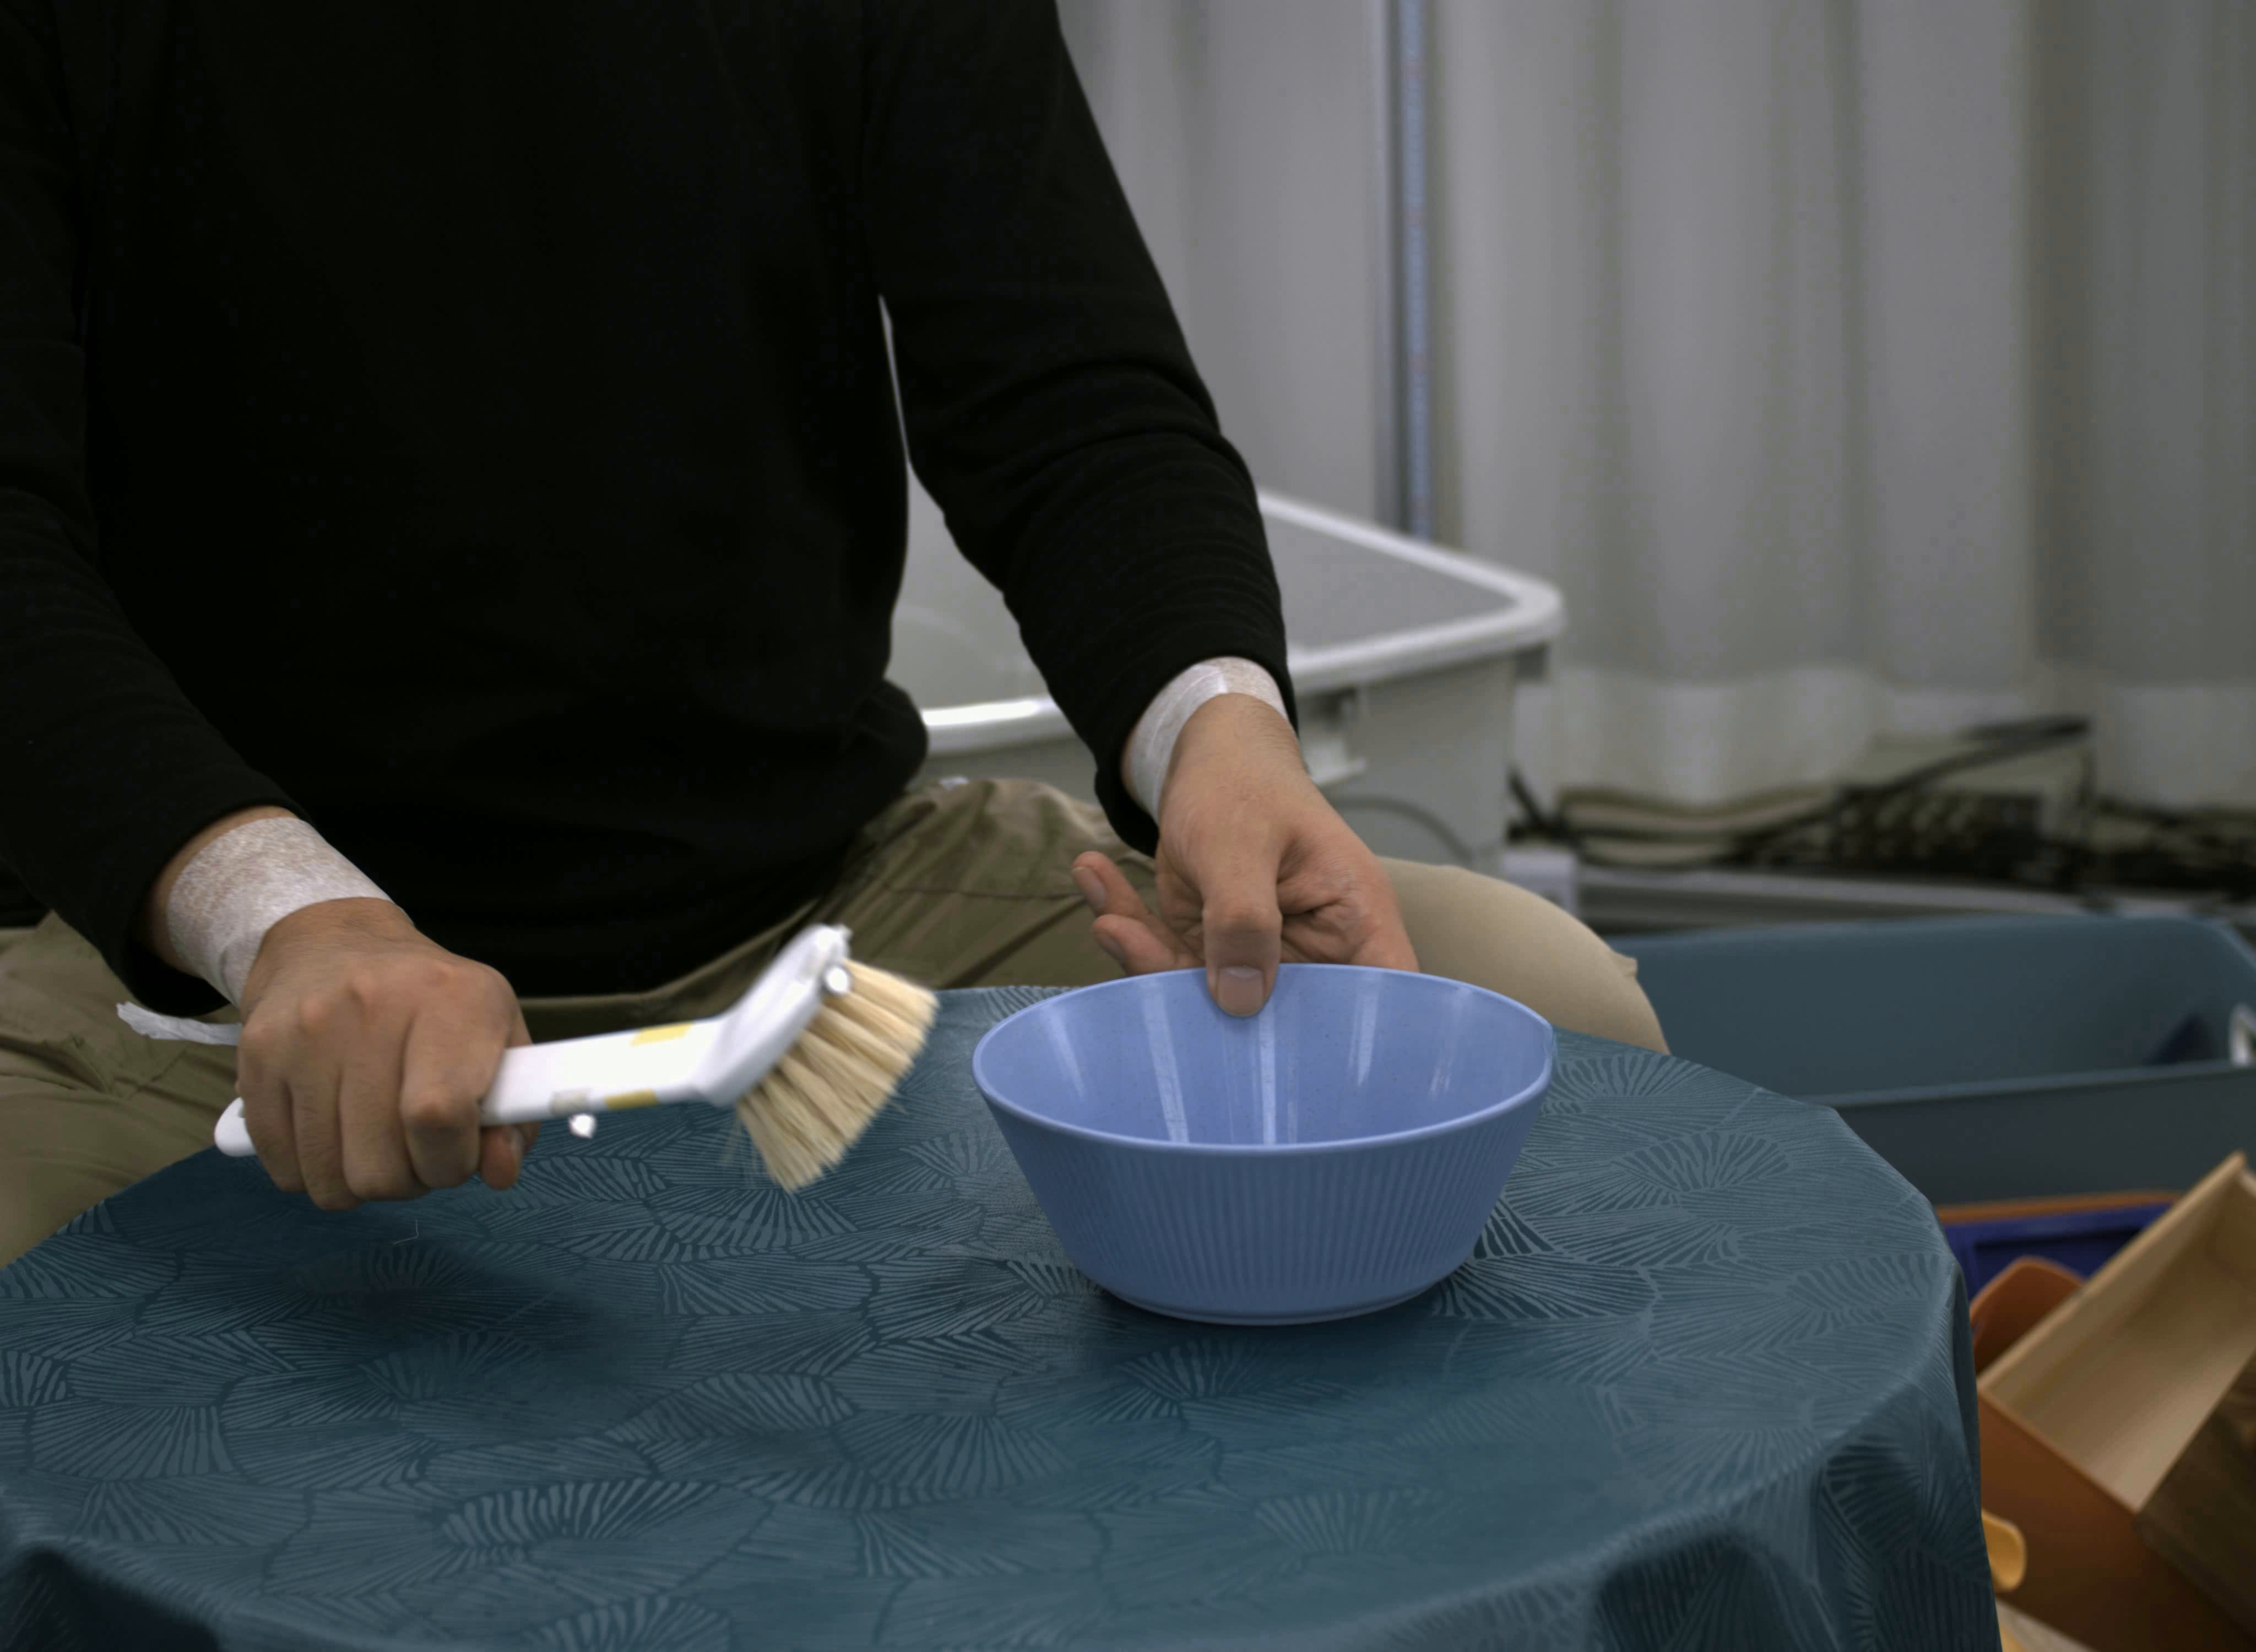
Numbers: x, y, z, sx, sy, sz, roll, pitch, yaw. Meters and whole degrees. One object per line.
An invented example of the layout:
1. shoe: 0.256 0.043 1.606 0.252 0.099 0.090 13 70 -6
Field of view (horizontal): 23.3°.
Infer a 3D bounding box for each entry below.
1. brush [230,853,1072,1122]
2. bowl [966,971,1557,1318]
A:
1. brush: -0.140 0.069 1.627 0.266 0.056 0.069 -16 19 17
2. bowl: 0.040 0.097 1.630 0.175 0.070 0.177 -1 14 0
